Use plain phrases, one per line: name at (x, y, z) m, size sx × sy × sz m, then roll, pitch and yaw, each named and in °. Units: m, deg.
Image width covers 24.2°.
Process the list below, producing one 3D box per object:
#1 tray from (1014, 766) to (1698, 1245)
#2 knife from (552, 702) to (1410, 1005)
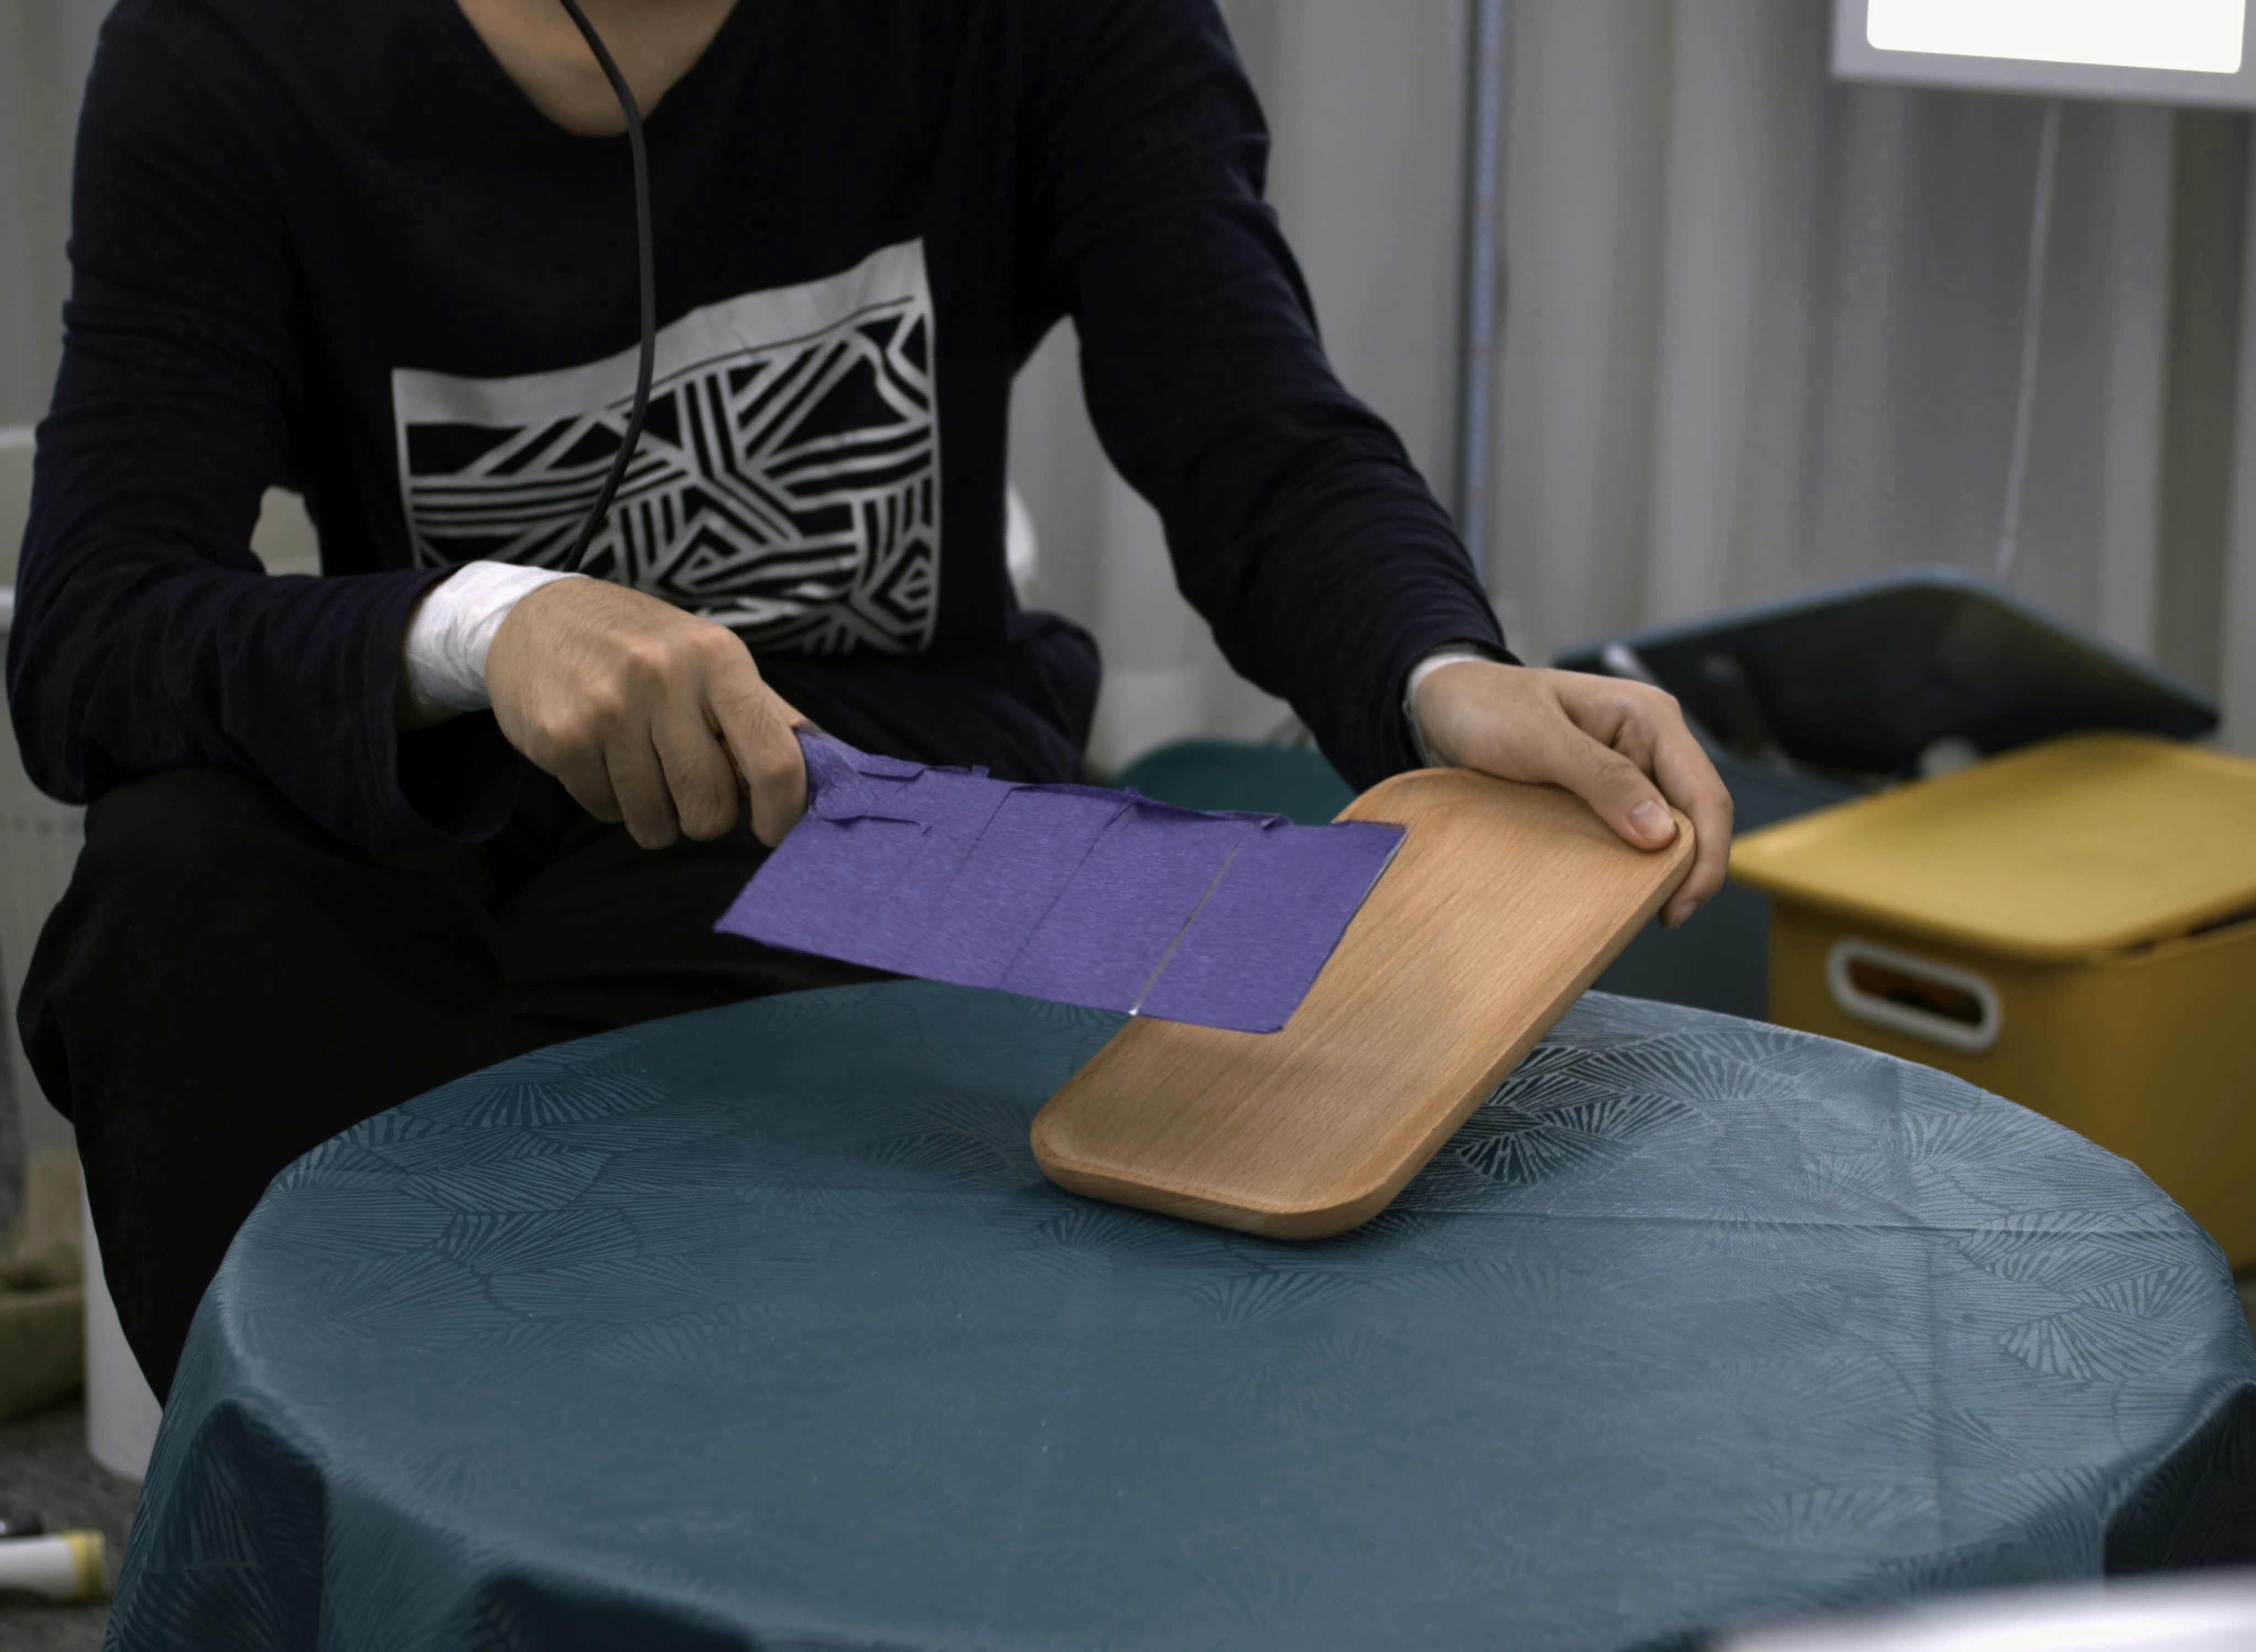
tray at (0.076, 0.054, 1.680) m, size 0.129 × 0.023 × 0.250 m, roll 10°, pitch 37°, yaw 36°
knife at (-0.068, 0.007, 1.662) m, size 0.311 × 0.032 × 0.103 m, roll 7°, pitch 40°, yaw 31°
